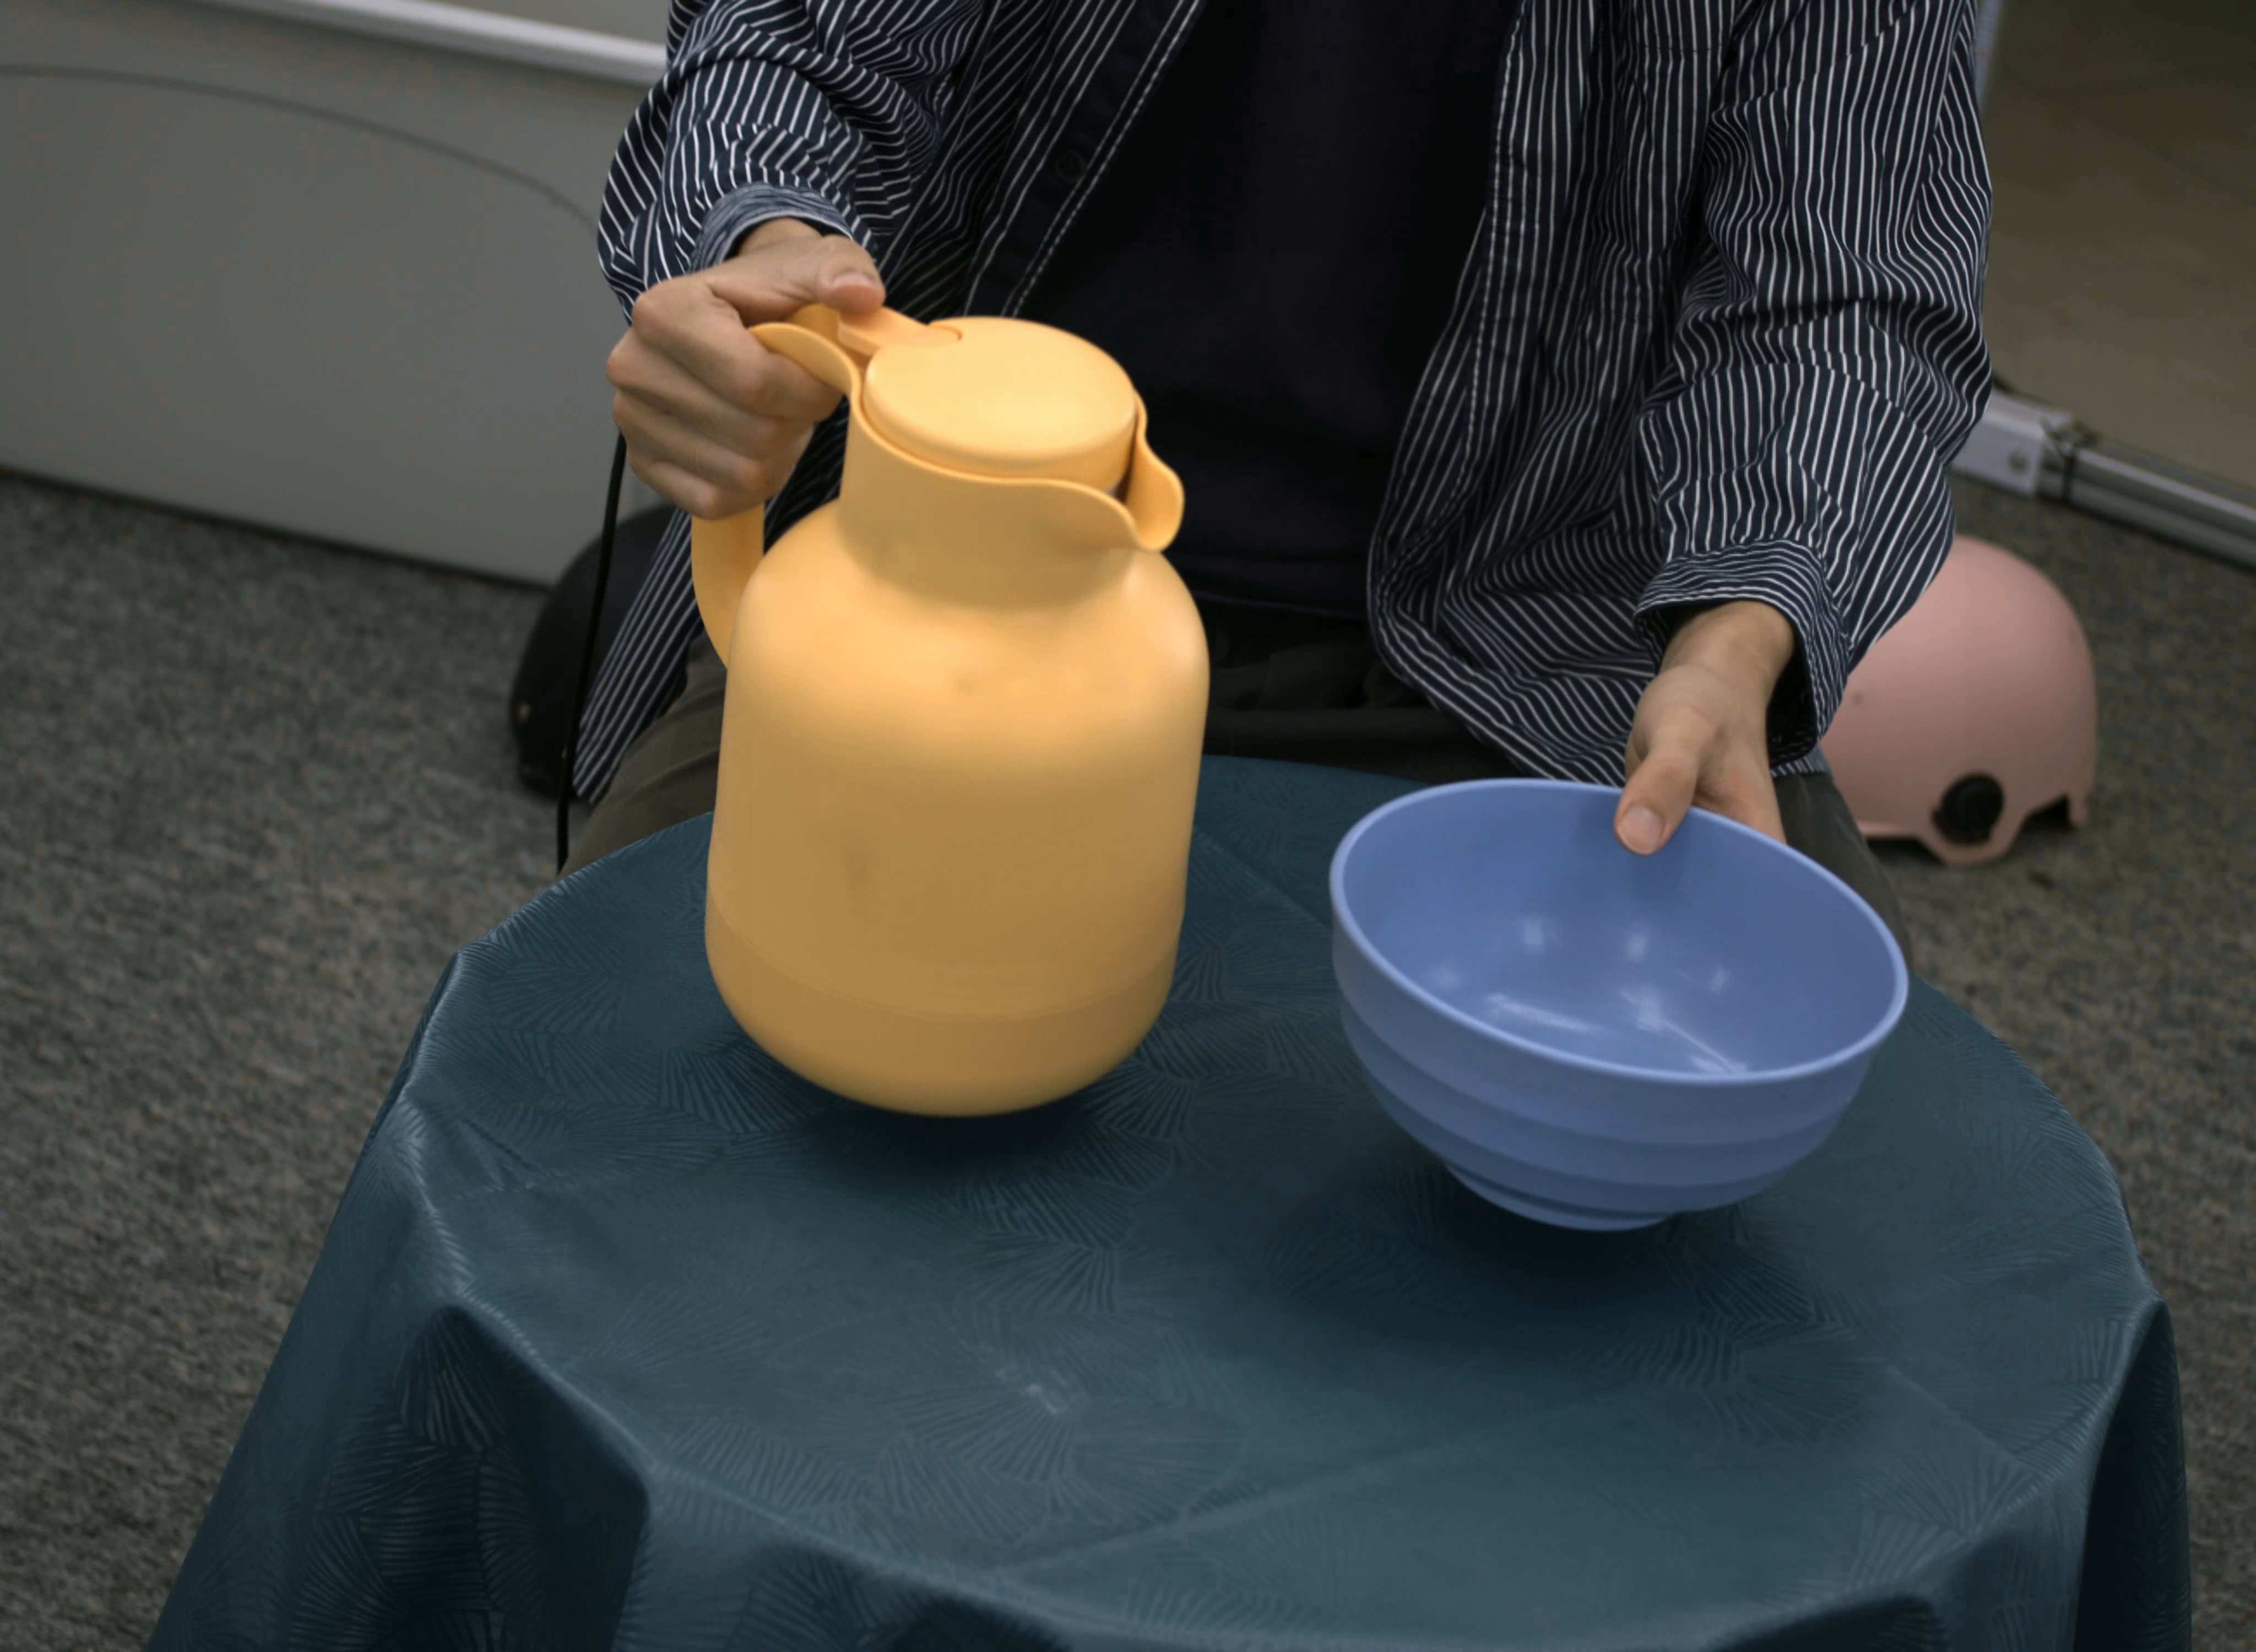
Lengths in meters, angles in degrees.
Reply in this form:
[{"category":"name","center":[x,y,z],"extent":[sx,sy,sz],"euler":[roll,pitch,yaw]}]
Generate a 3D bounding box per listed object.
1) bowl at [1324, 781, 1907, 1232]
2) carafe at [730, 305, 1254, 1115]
[{"category":"bowl","center":[0.155,0.072,1.787],"extent":[0.196,0.095,0.198],"euler":[7,28,-4]},{"category":"carafe","center":[-0.052,-0.050,1.789],"extent":[0.204,0.259,0.163],"euler":[30,40,31]}]
